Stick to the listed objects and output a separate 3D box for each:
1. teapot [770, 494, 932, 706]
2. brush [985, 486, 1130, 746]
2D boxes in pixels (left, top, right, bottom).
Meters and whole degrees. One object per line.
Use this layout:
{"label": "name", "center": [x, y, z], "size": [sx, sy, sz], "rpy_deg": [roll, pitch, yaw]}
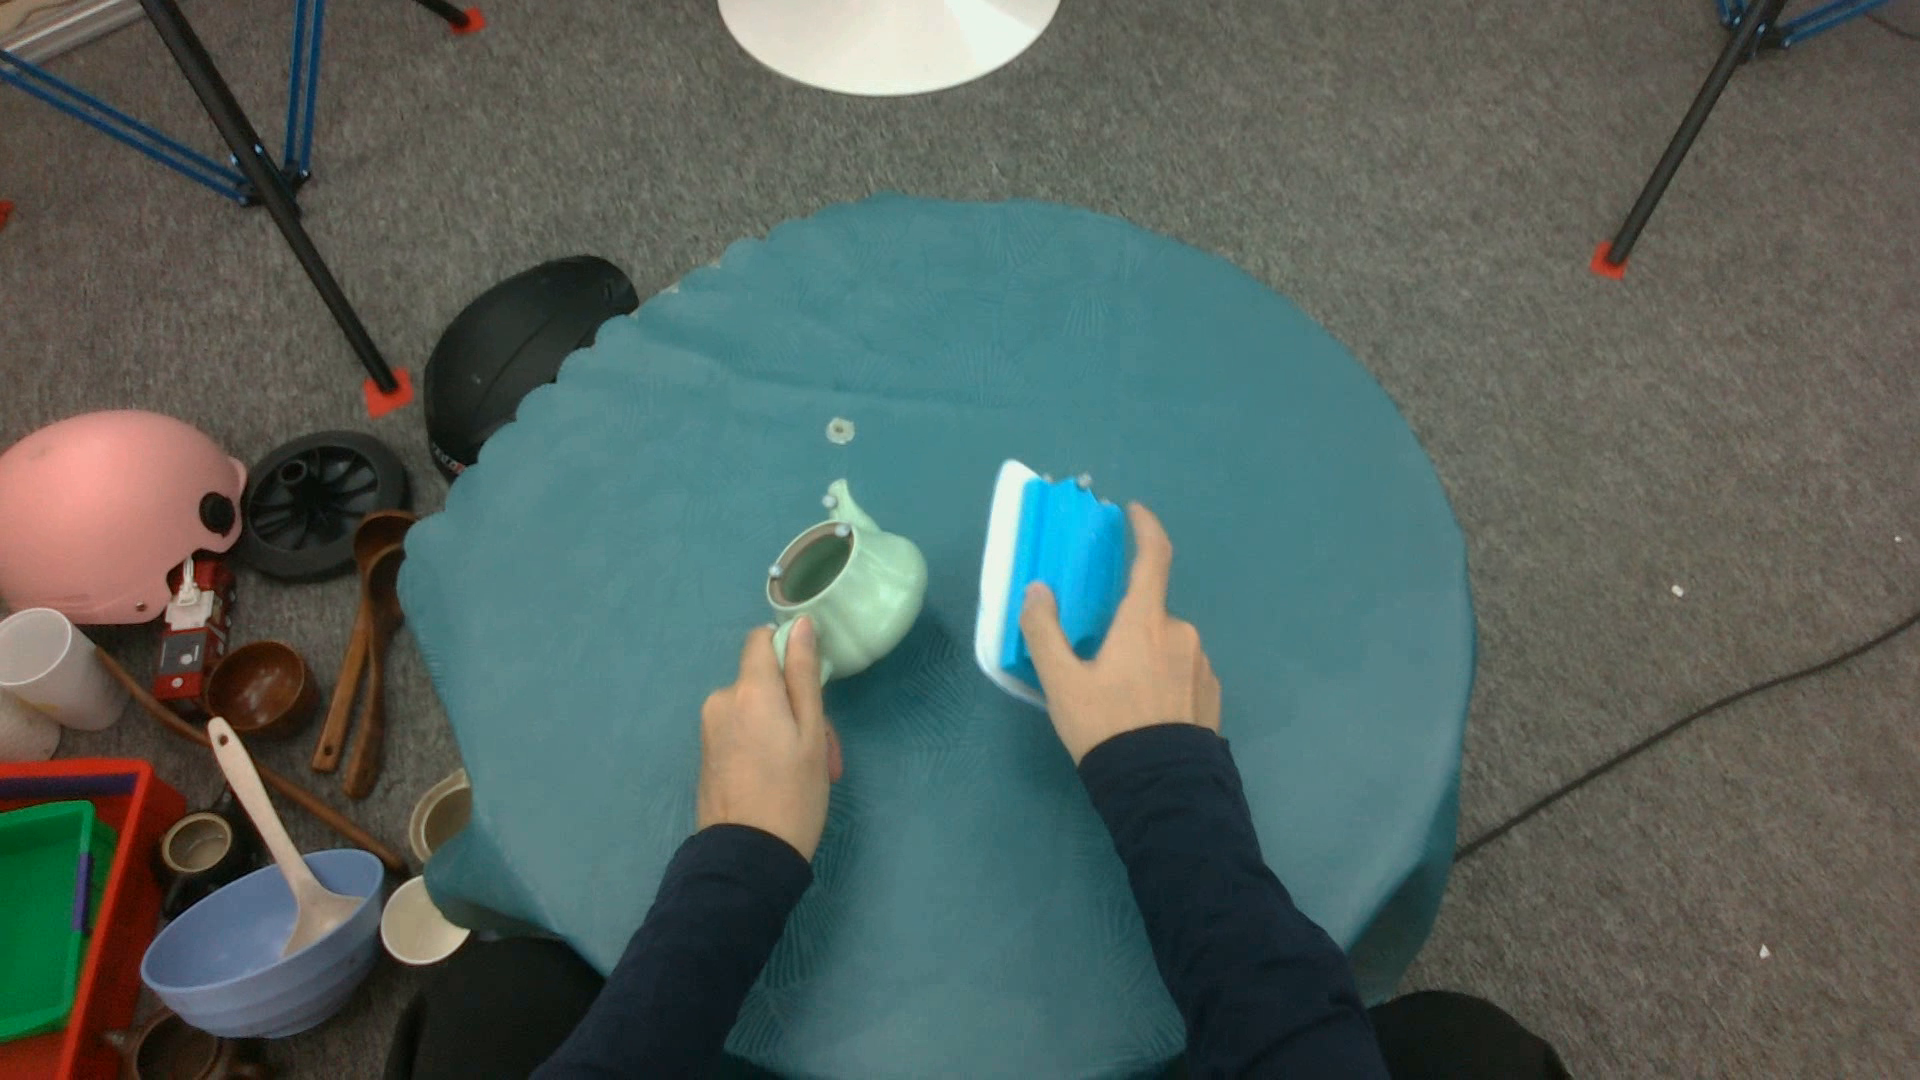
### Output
{"label": "teapot", "center": [-0.067, 0.040, 0.767], "size": [0.096, 0.061, 0.137], "rpy_deg": [-15, 40, 30]}
{"label": "brush", "center": [0.062, 0.033, 0.735], "size": [0.084, 0.055, 0.144], "rpy_deg": [33, 47, -27]}
